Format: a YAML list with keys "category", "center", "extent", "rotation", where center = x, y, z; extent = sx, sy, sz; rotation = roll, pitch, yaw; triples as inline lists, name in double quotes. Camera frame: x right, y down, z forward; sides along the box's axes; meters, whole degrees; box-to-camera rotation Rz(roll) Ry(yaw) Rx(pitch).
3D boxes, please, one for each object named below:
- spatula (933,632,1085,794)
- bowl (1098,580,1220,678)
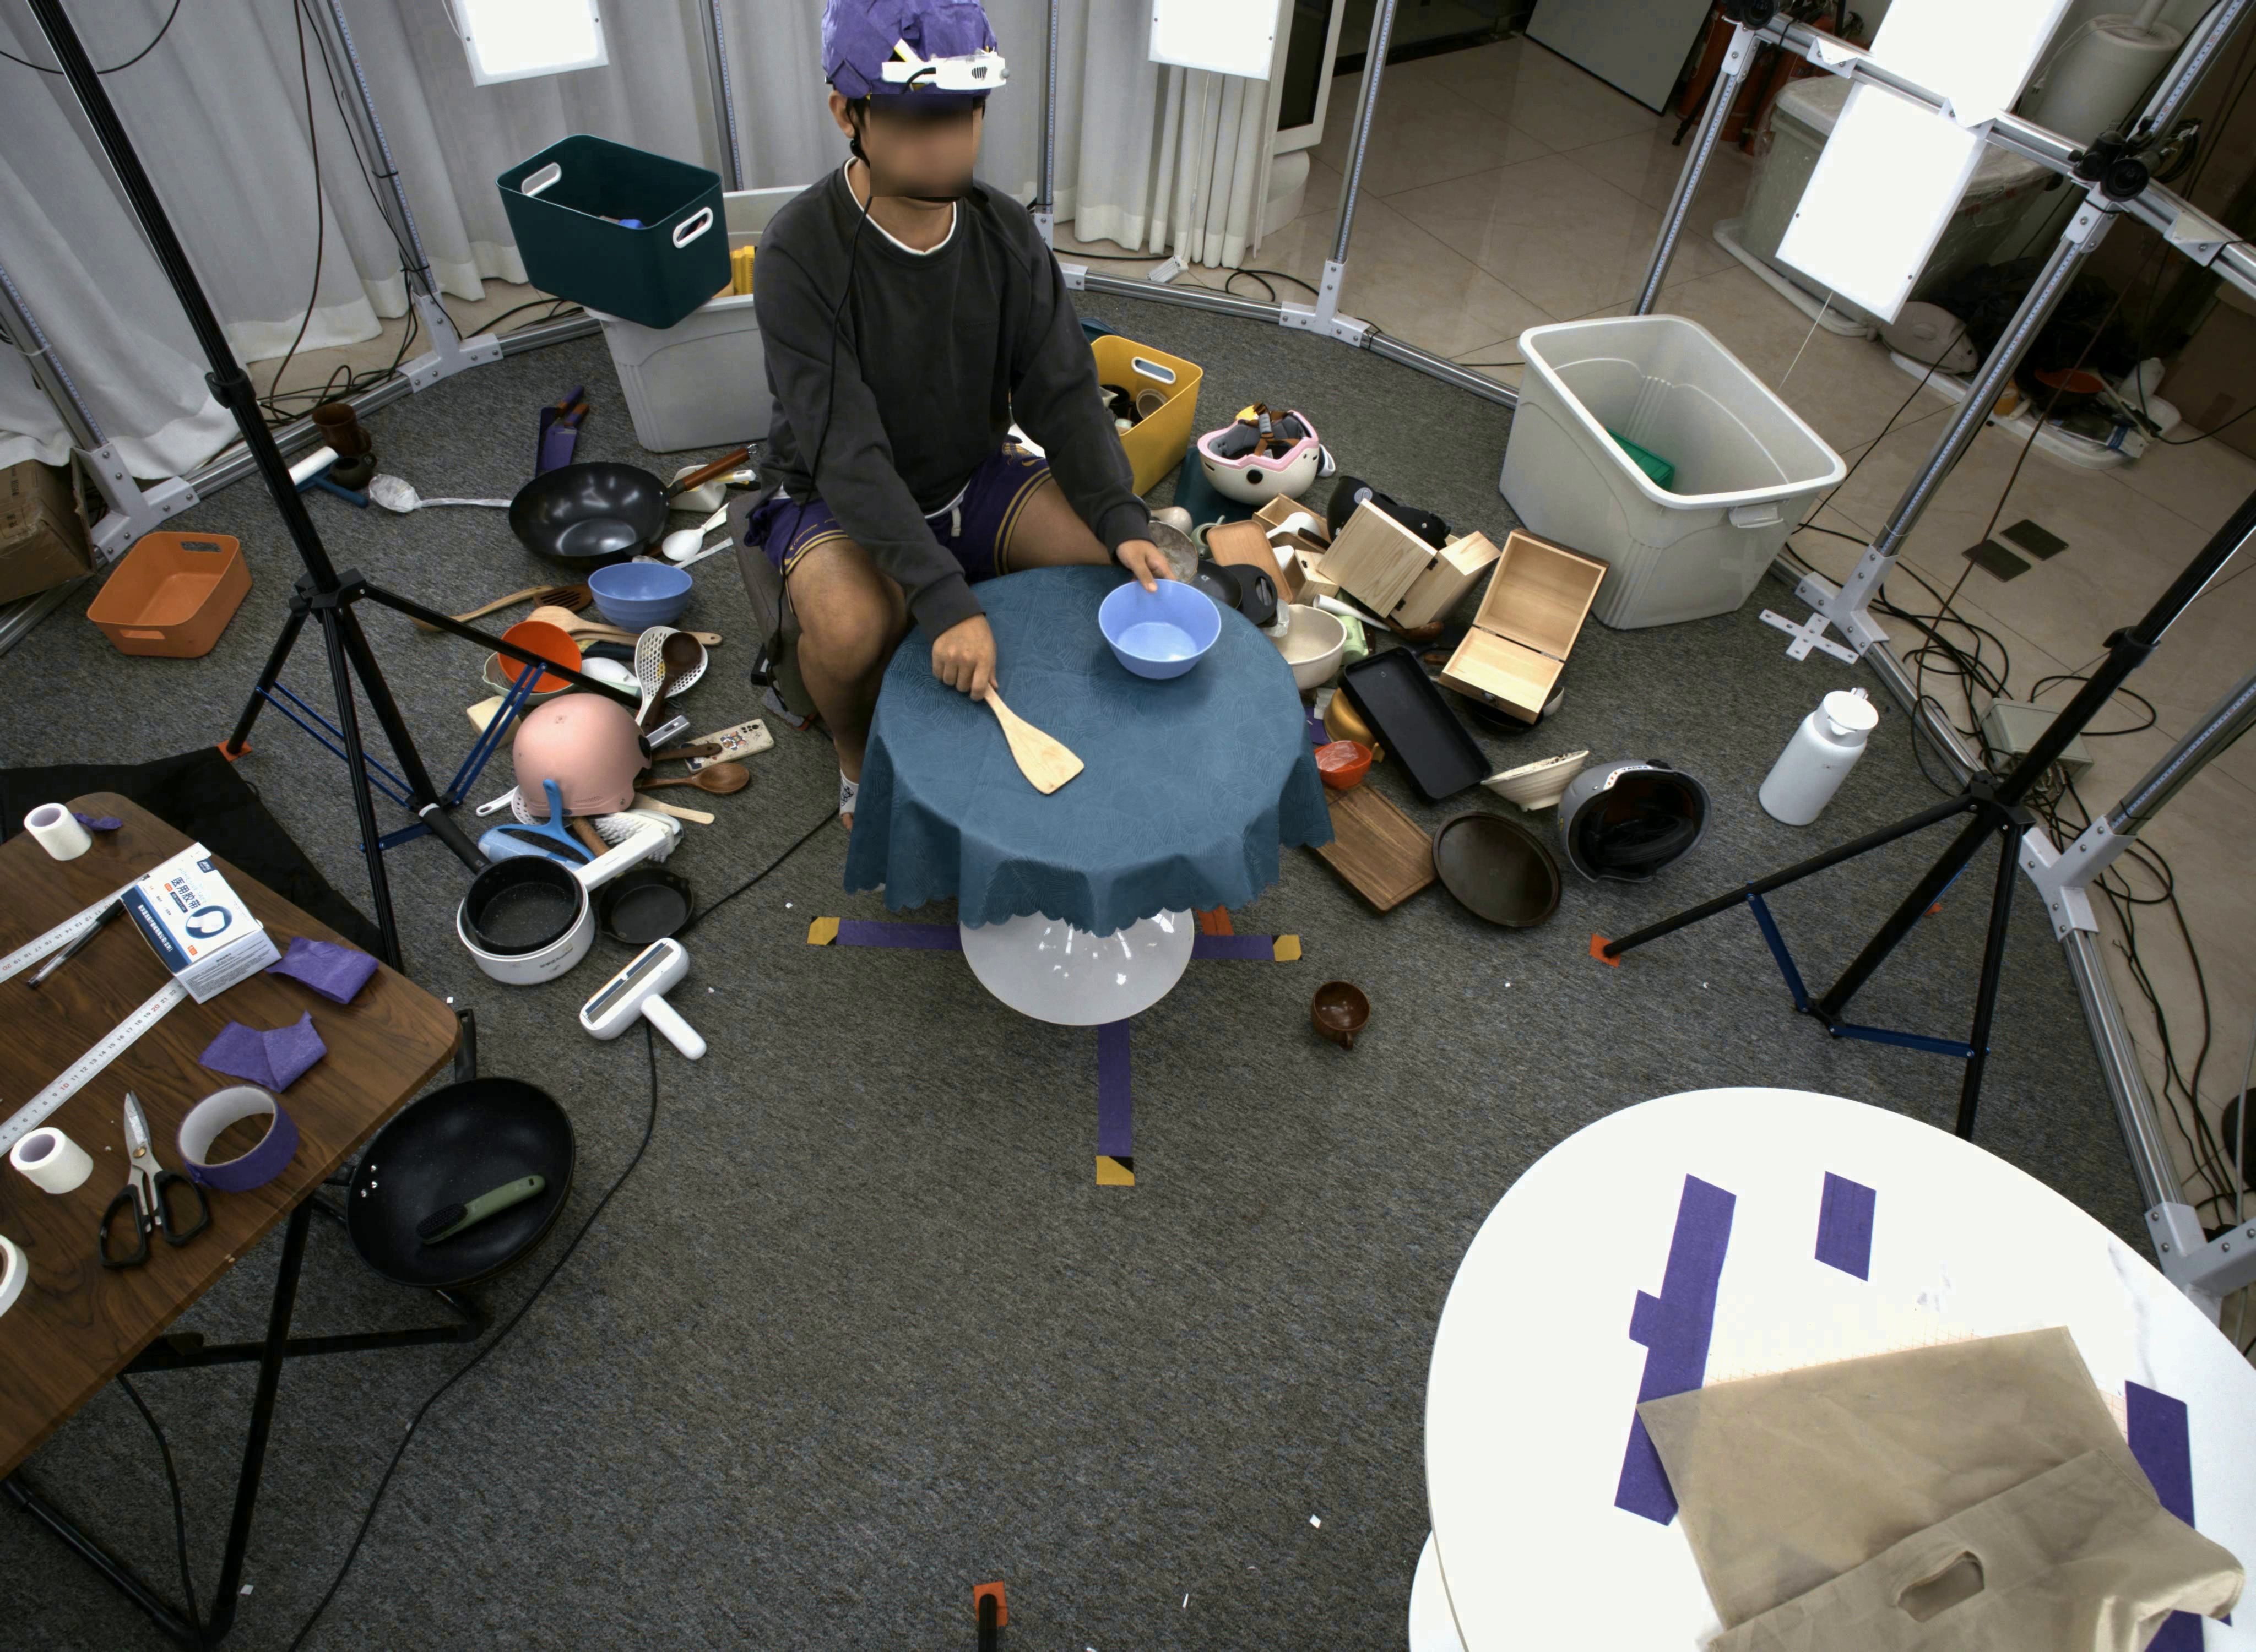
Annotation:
- category: "spatula"
  center: [-0.176, -0.166, 1.779]
  extent: [0.080, 0.016, 0.333]
  rotation: [-27, 61, -25]
- category: "bowl"
  center: [0.043, -0.278, 1.865]
  extent: [0.176, 0.068, 0.180]
  rotation: [2, 49, -2]
